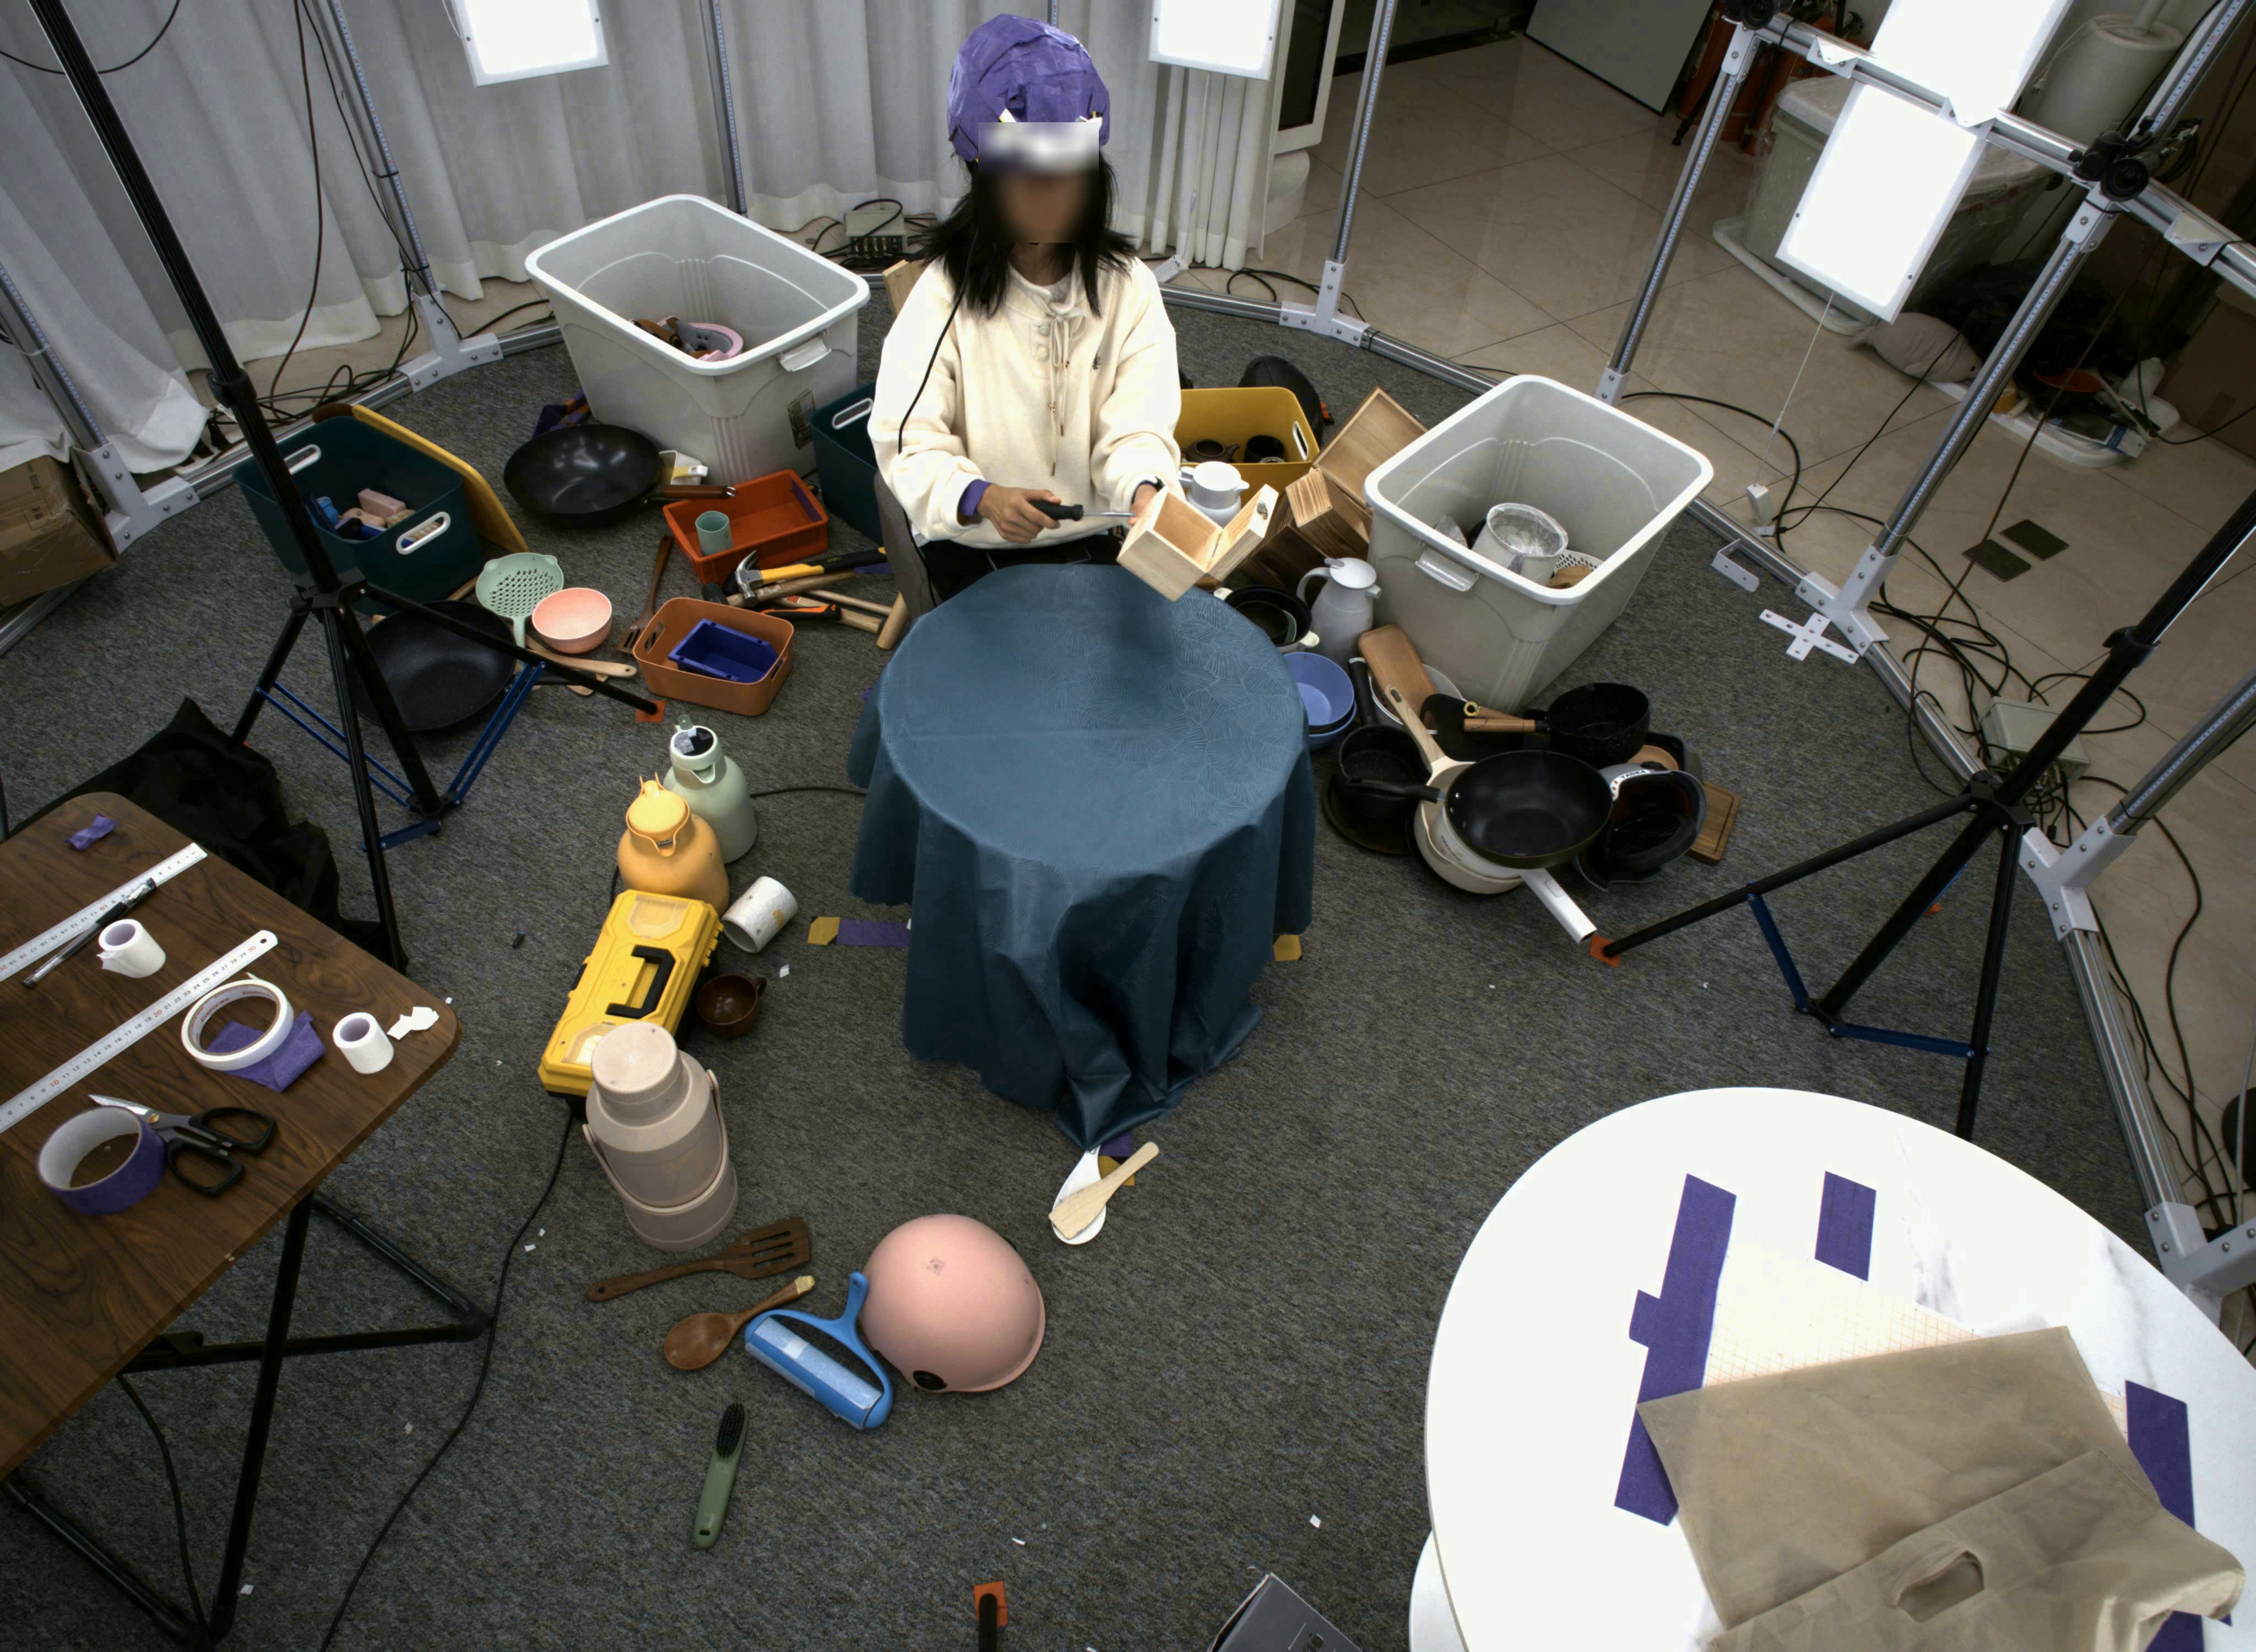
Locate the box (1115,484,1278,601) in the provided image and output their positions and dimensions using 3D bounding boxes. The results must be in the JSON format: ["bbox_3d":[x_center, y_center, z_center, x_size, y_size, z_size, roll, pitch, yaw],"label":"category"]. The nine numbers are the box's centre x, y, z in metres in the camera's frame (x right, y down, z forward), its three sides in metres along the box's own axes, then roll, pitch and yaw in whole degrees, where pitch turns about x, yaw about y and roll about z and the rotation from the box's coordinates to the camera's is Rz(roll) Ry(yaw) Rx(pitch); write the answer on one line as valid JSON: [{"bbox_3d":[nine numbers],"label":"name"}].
[{"bbox_3d":[0.091,-0.408,1.753,0.132,0.182,0.105,35,51,-17],"label":"box"}]

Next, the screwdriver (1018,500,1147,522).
[{"bbox_3d":[-0.064,-0.432,1.790,0.199,0.031,0.032,12,48,24],"label":"screwdriver"}]
